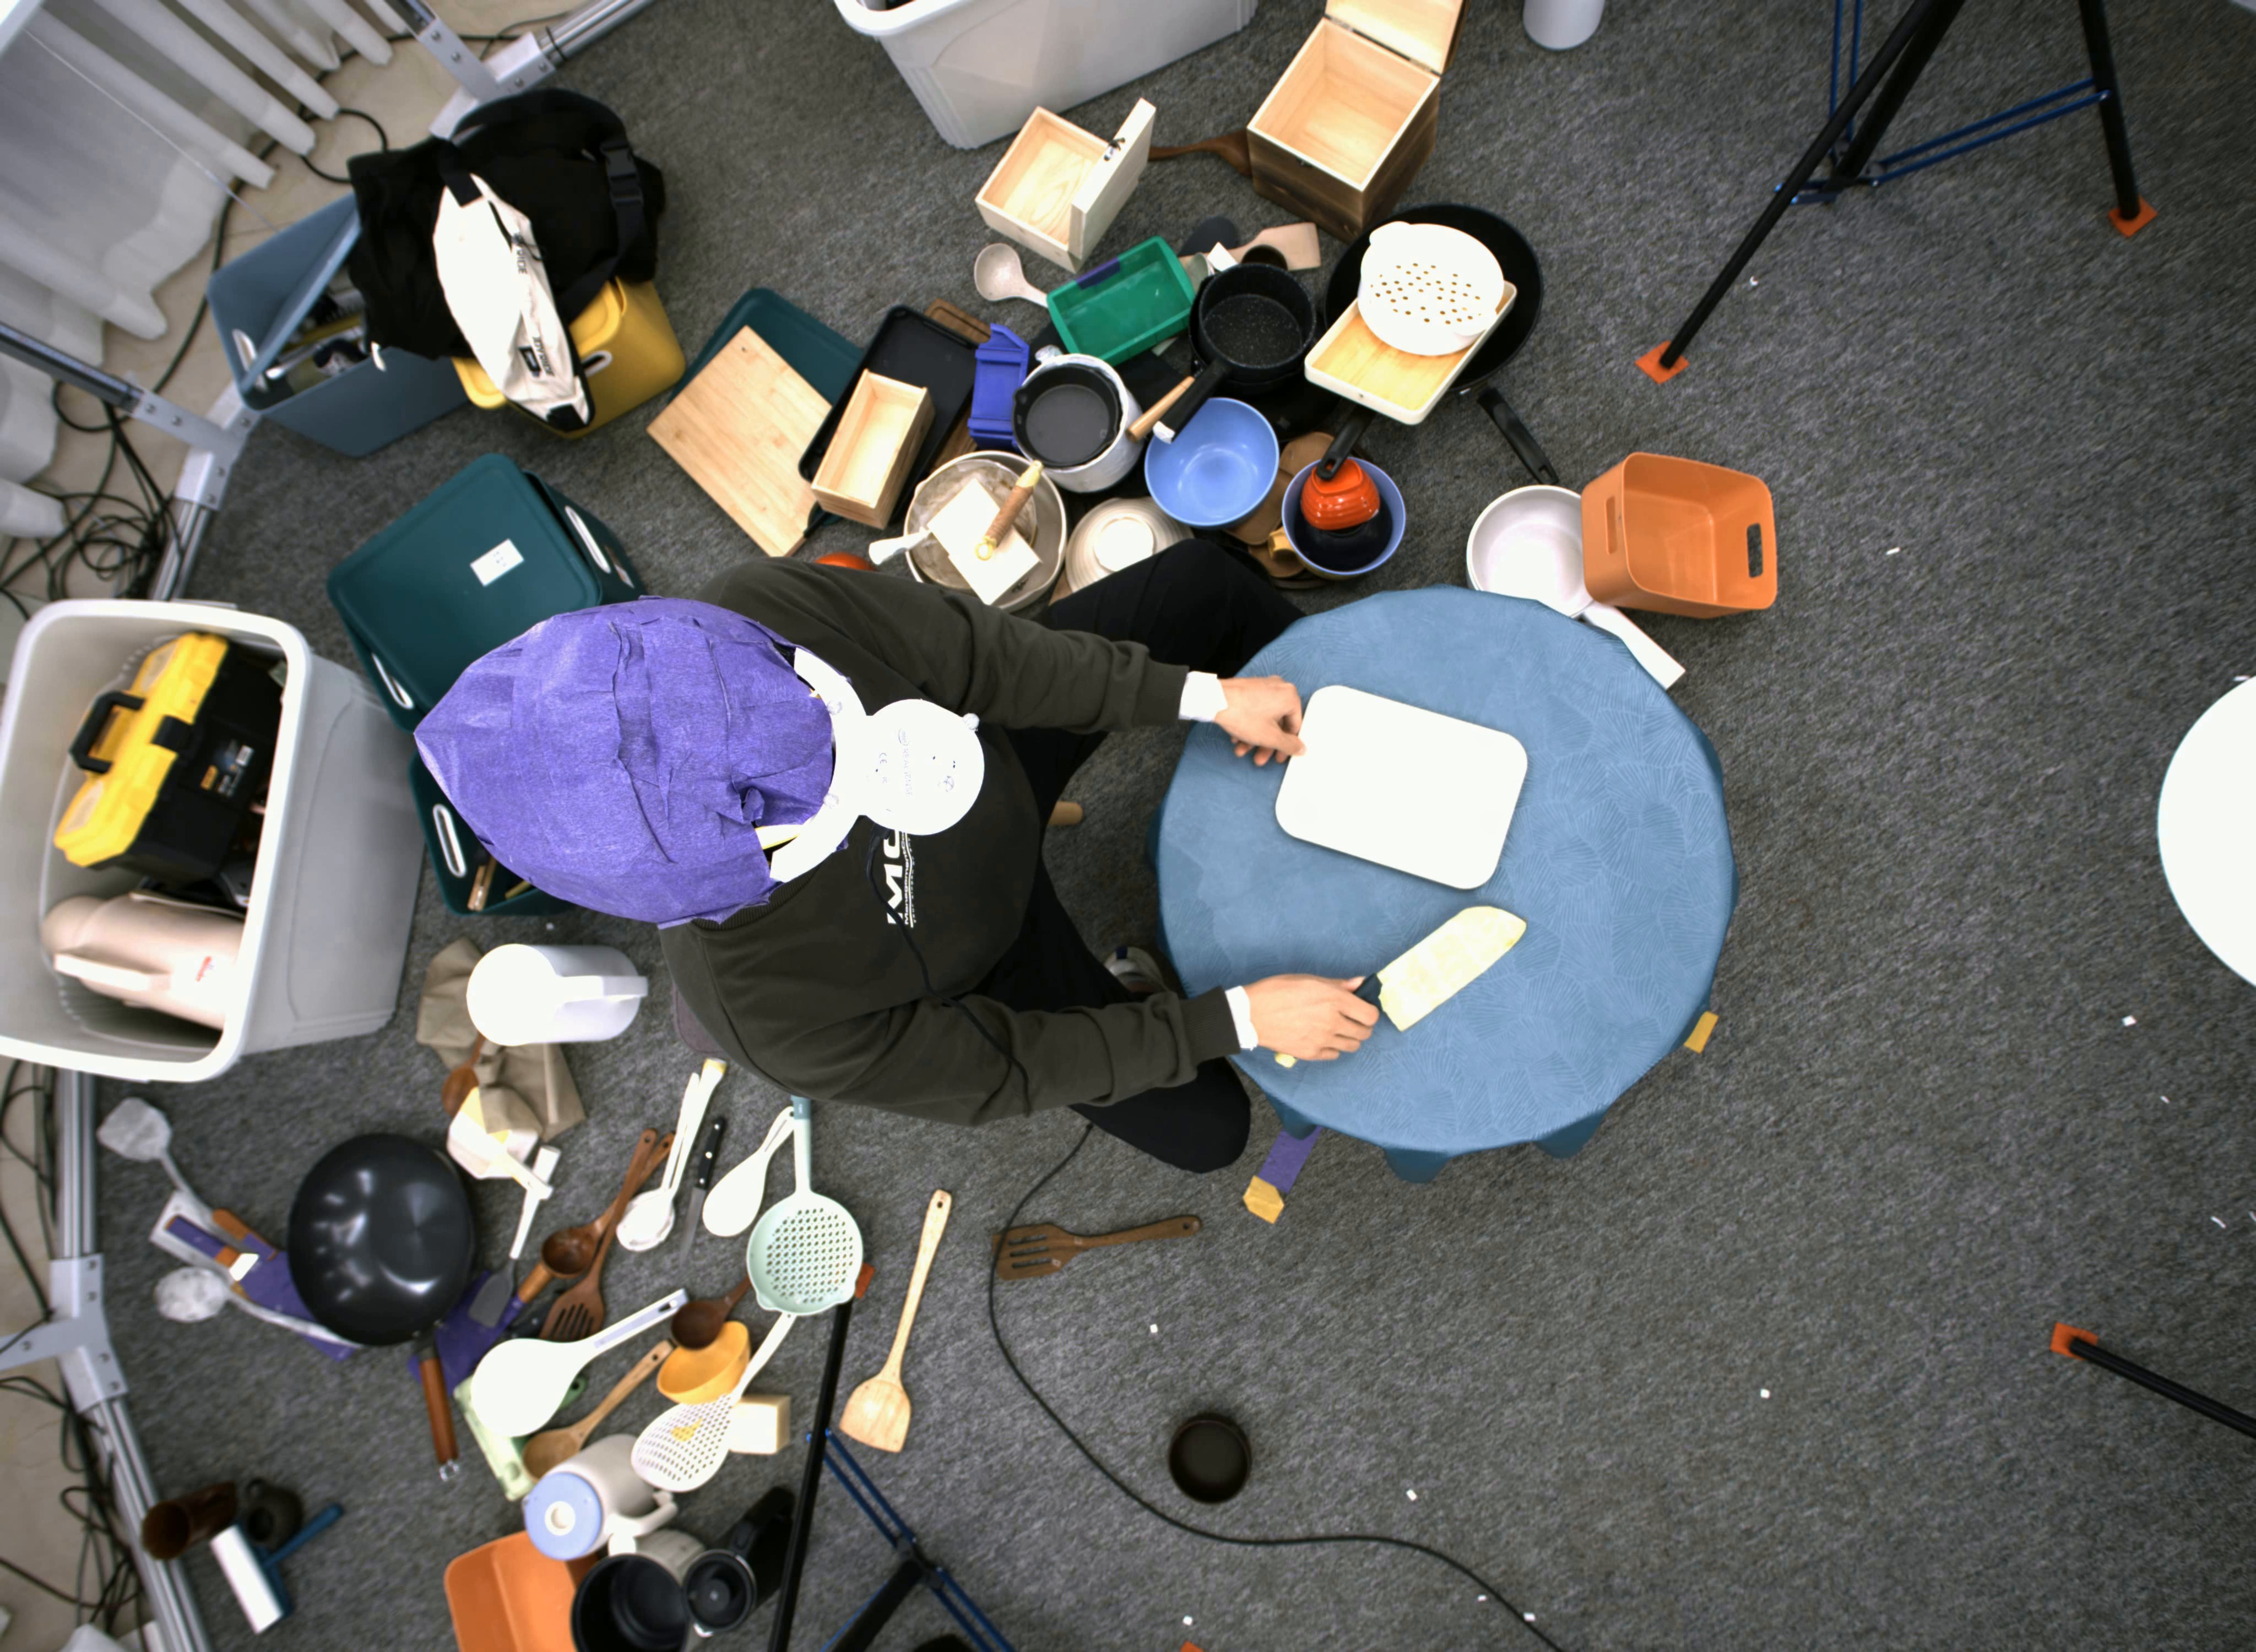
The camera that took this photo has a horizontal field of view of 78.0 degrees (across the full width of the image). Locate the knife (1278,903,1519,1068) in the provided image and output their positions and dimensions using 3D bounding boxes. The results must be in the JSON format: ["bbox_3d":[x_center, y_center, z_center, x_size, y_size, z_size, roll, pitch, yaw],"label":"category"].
[{"bbox_3d":[0.283,0.170,1.432,0.290,0.027,0.081,-34,104,5],"label":"knife"}]

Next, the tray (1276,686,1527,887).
[{"bbox_3d":[0.287,-0.044,1.454,0.240,0.017,0.171,17,91,11],"label":"tray"}]
